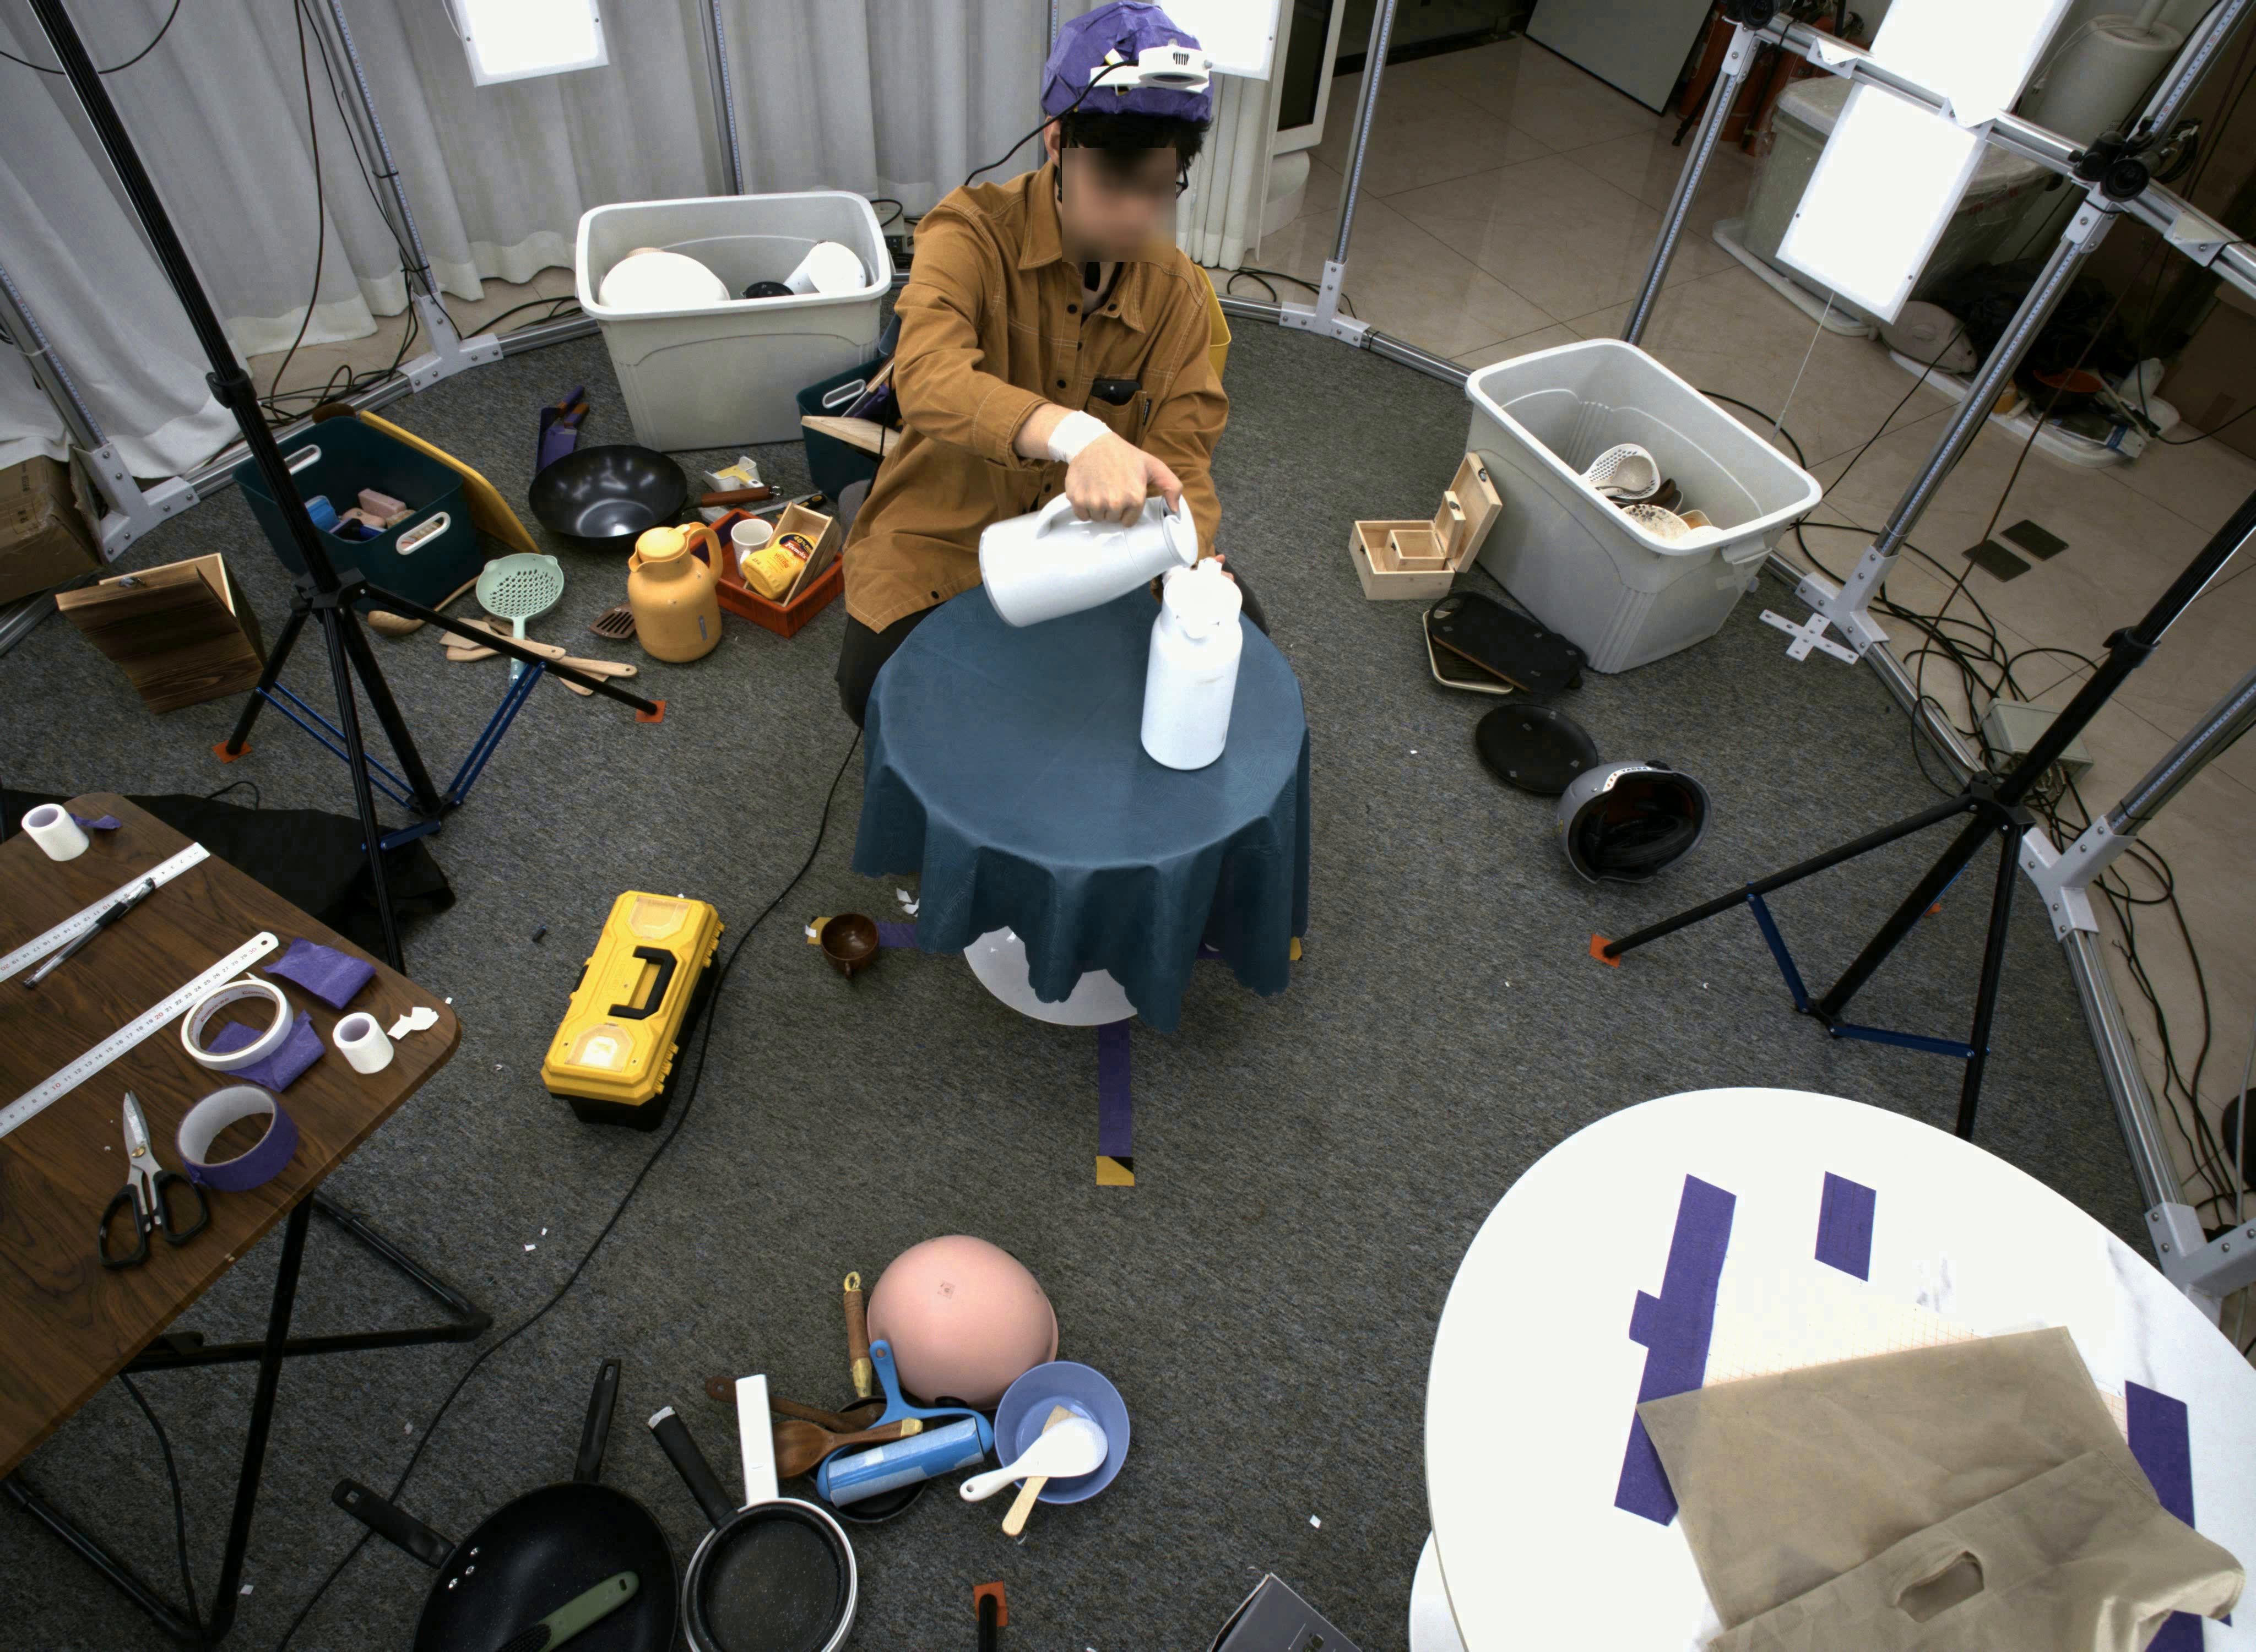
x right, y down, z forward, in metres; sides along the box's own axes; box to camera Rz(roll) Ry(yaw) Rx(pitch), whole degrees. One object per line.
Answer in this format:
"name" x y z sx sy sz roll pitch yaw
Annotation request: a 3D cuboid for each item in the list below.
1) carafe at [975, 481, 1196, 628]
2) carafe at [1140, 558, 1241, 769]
"carafe" -0.052 -0.337 1.529 0.248 0.164 0.135 -11 61 24
"carafe" 0.084 -0.215 1.689 0.124 0.262 0.177 8 49 5
